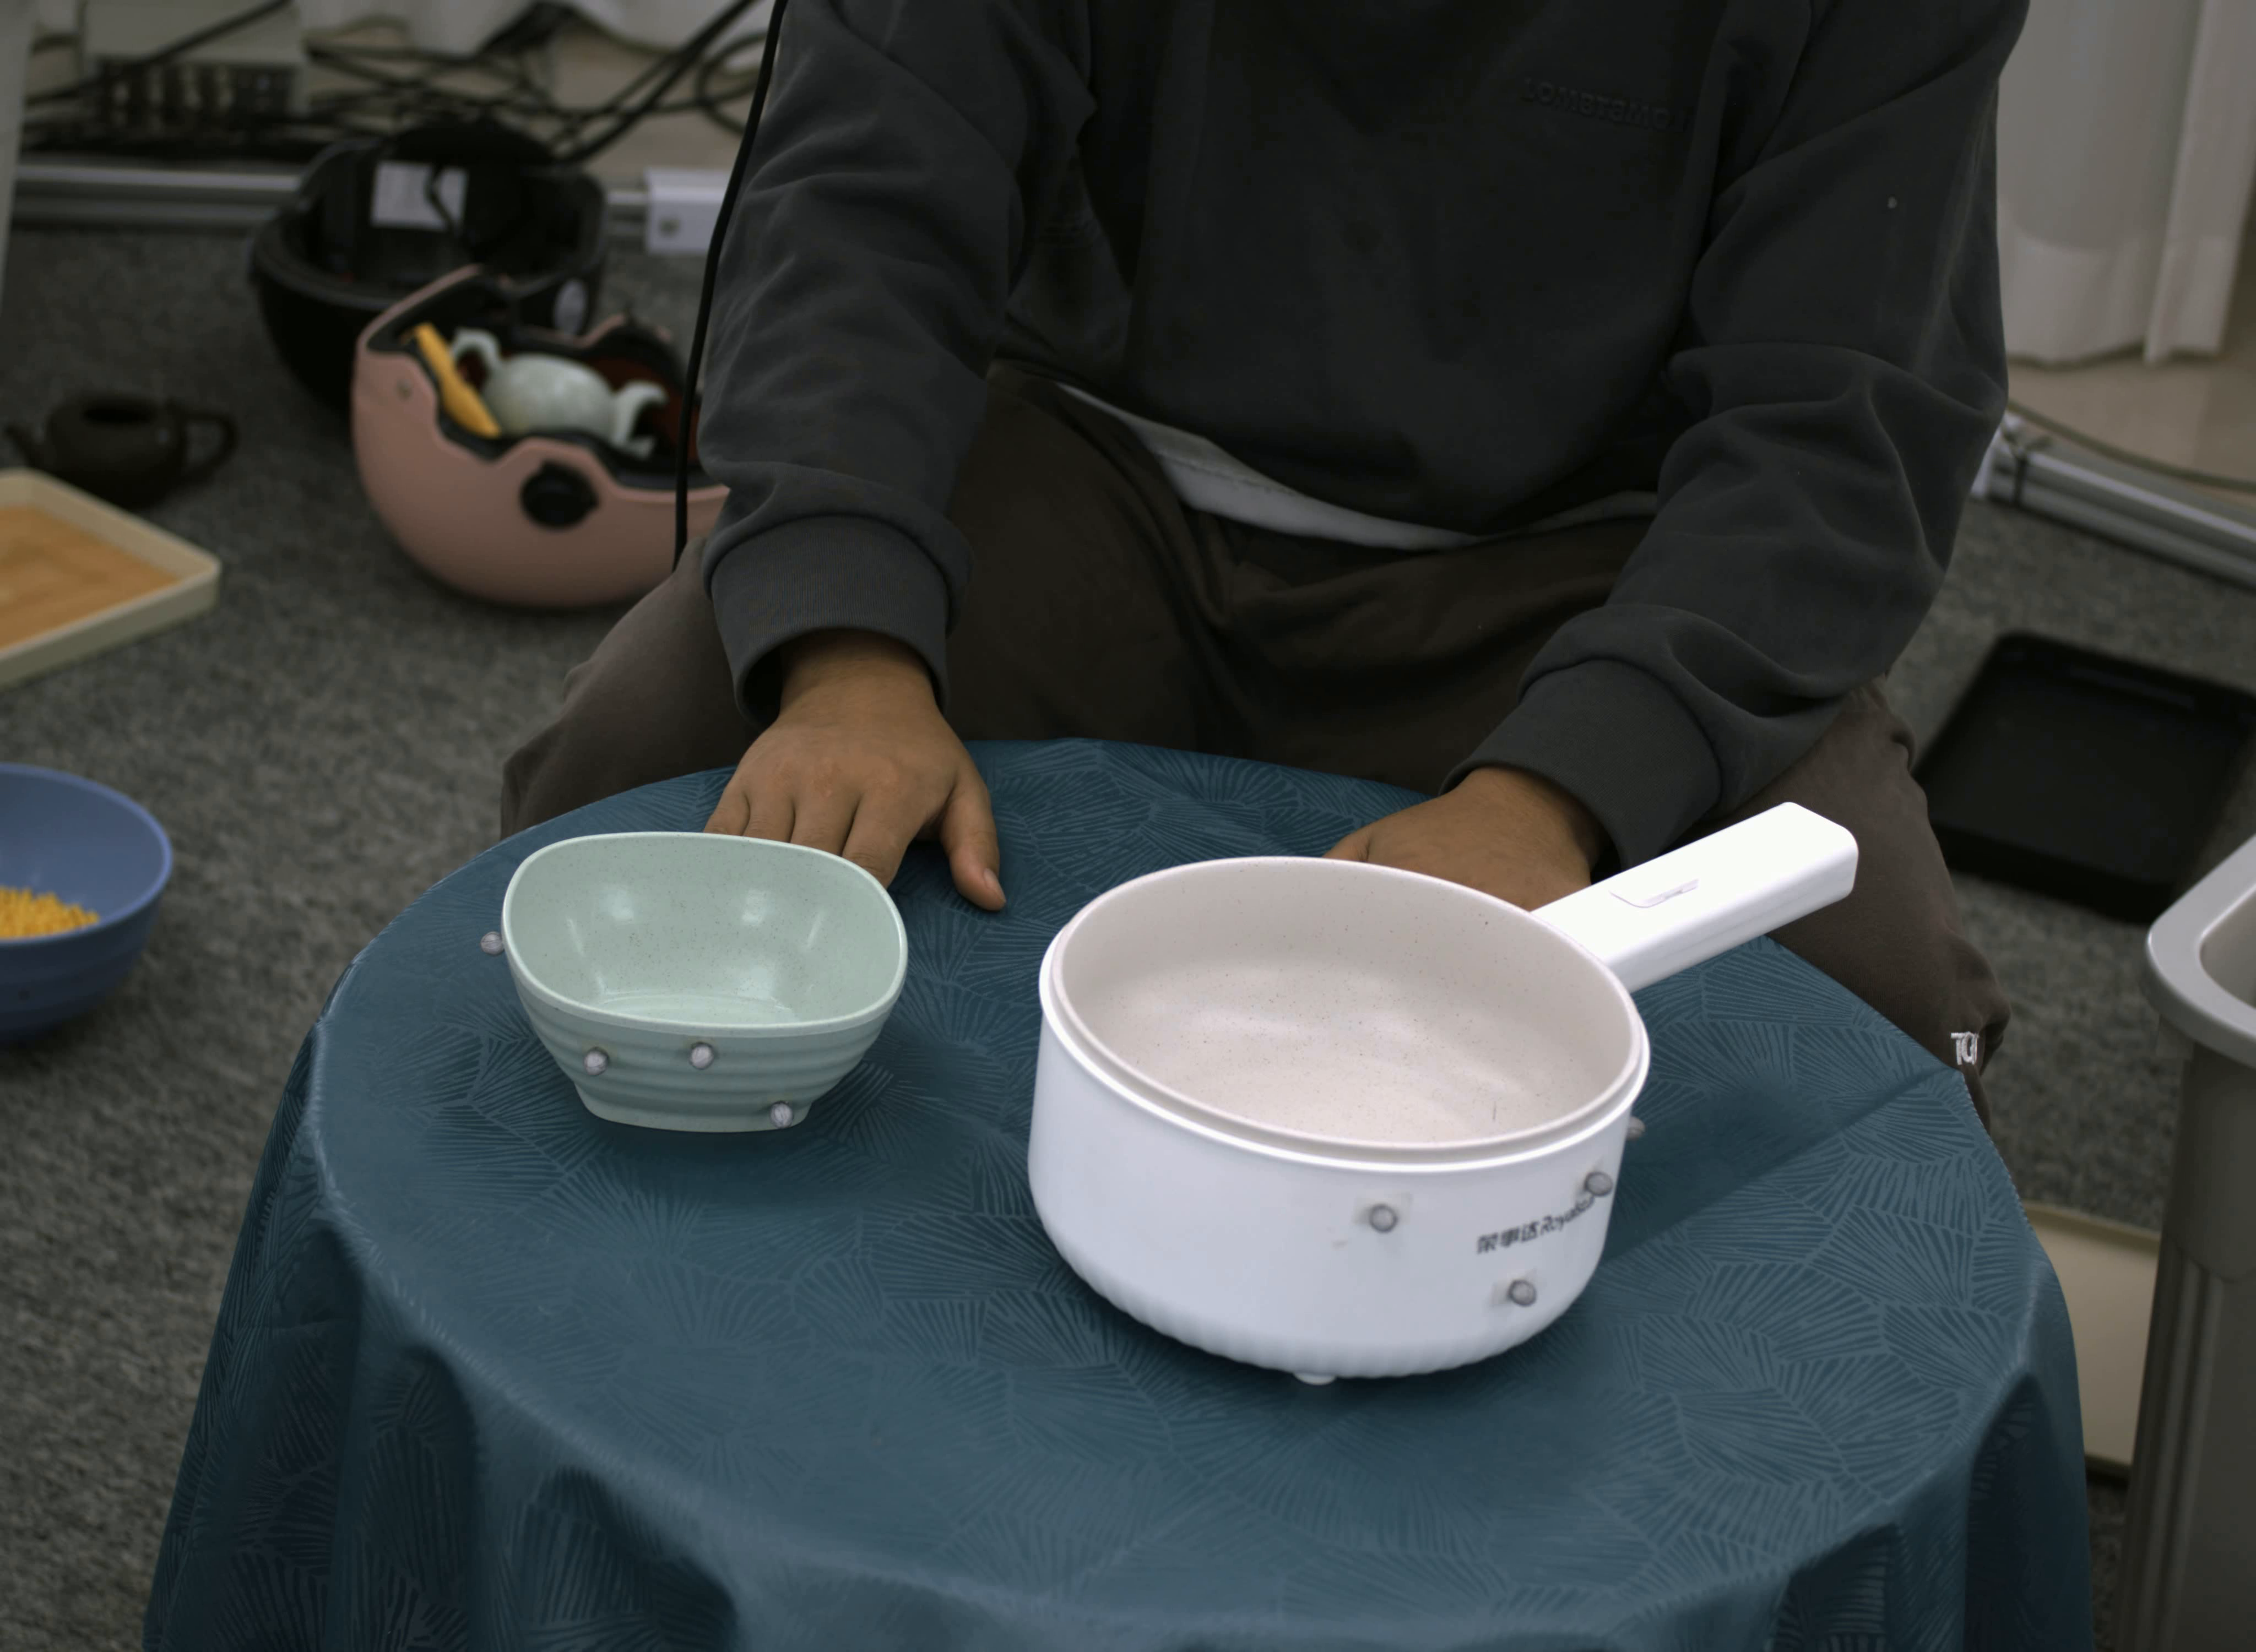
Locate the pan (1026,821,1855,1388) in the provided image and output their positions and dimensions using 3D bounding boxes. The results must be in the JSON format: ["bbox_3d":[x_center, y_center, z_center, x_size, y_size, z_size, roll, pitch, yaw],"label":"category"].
[{"bbox_3d":[0.118,0.085,1.811,0.203,0.102,0.353,27,31,37],"label":"pan"}]

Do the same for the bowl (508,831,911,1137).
[{"bbox_3d":[-0.146,0.060,1.836,0.151,0.058,0.152,5,28,-3],"label":"bowl"}]
